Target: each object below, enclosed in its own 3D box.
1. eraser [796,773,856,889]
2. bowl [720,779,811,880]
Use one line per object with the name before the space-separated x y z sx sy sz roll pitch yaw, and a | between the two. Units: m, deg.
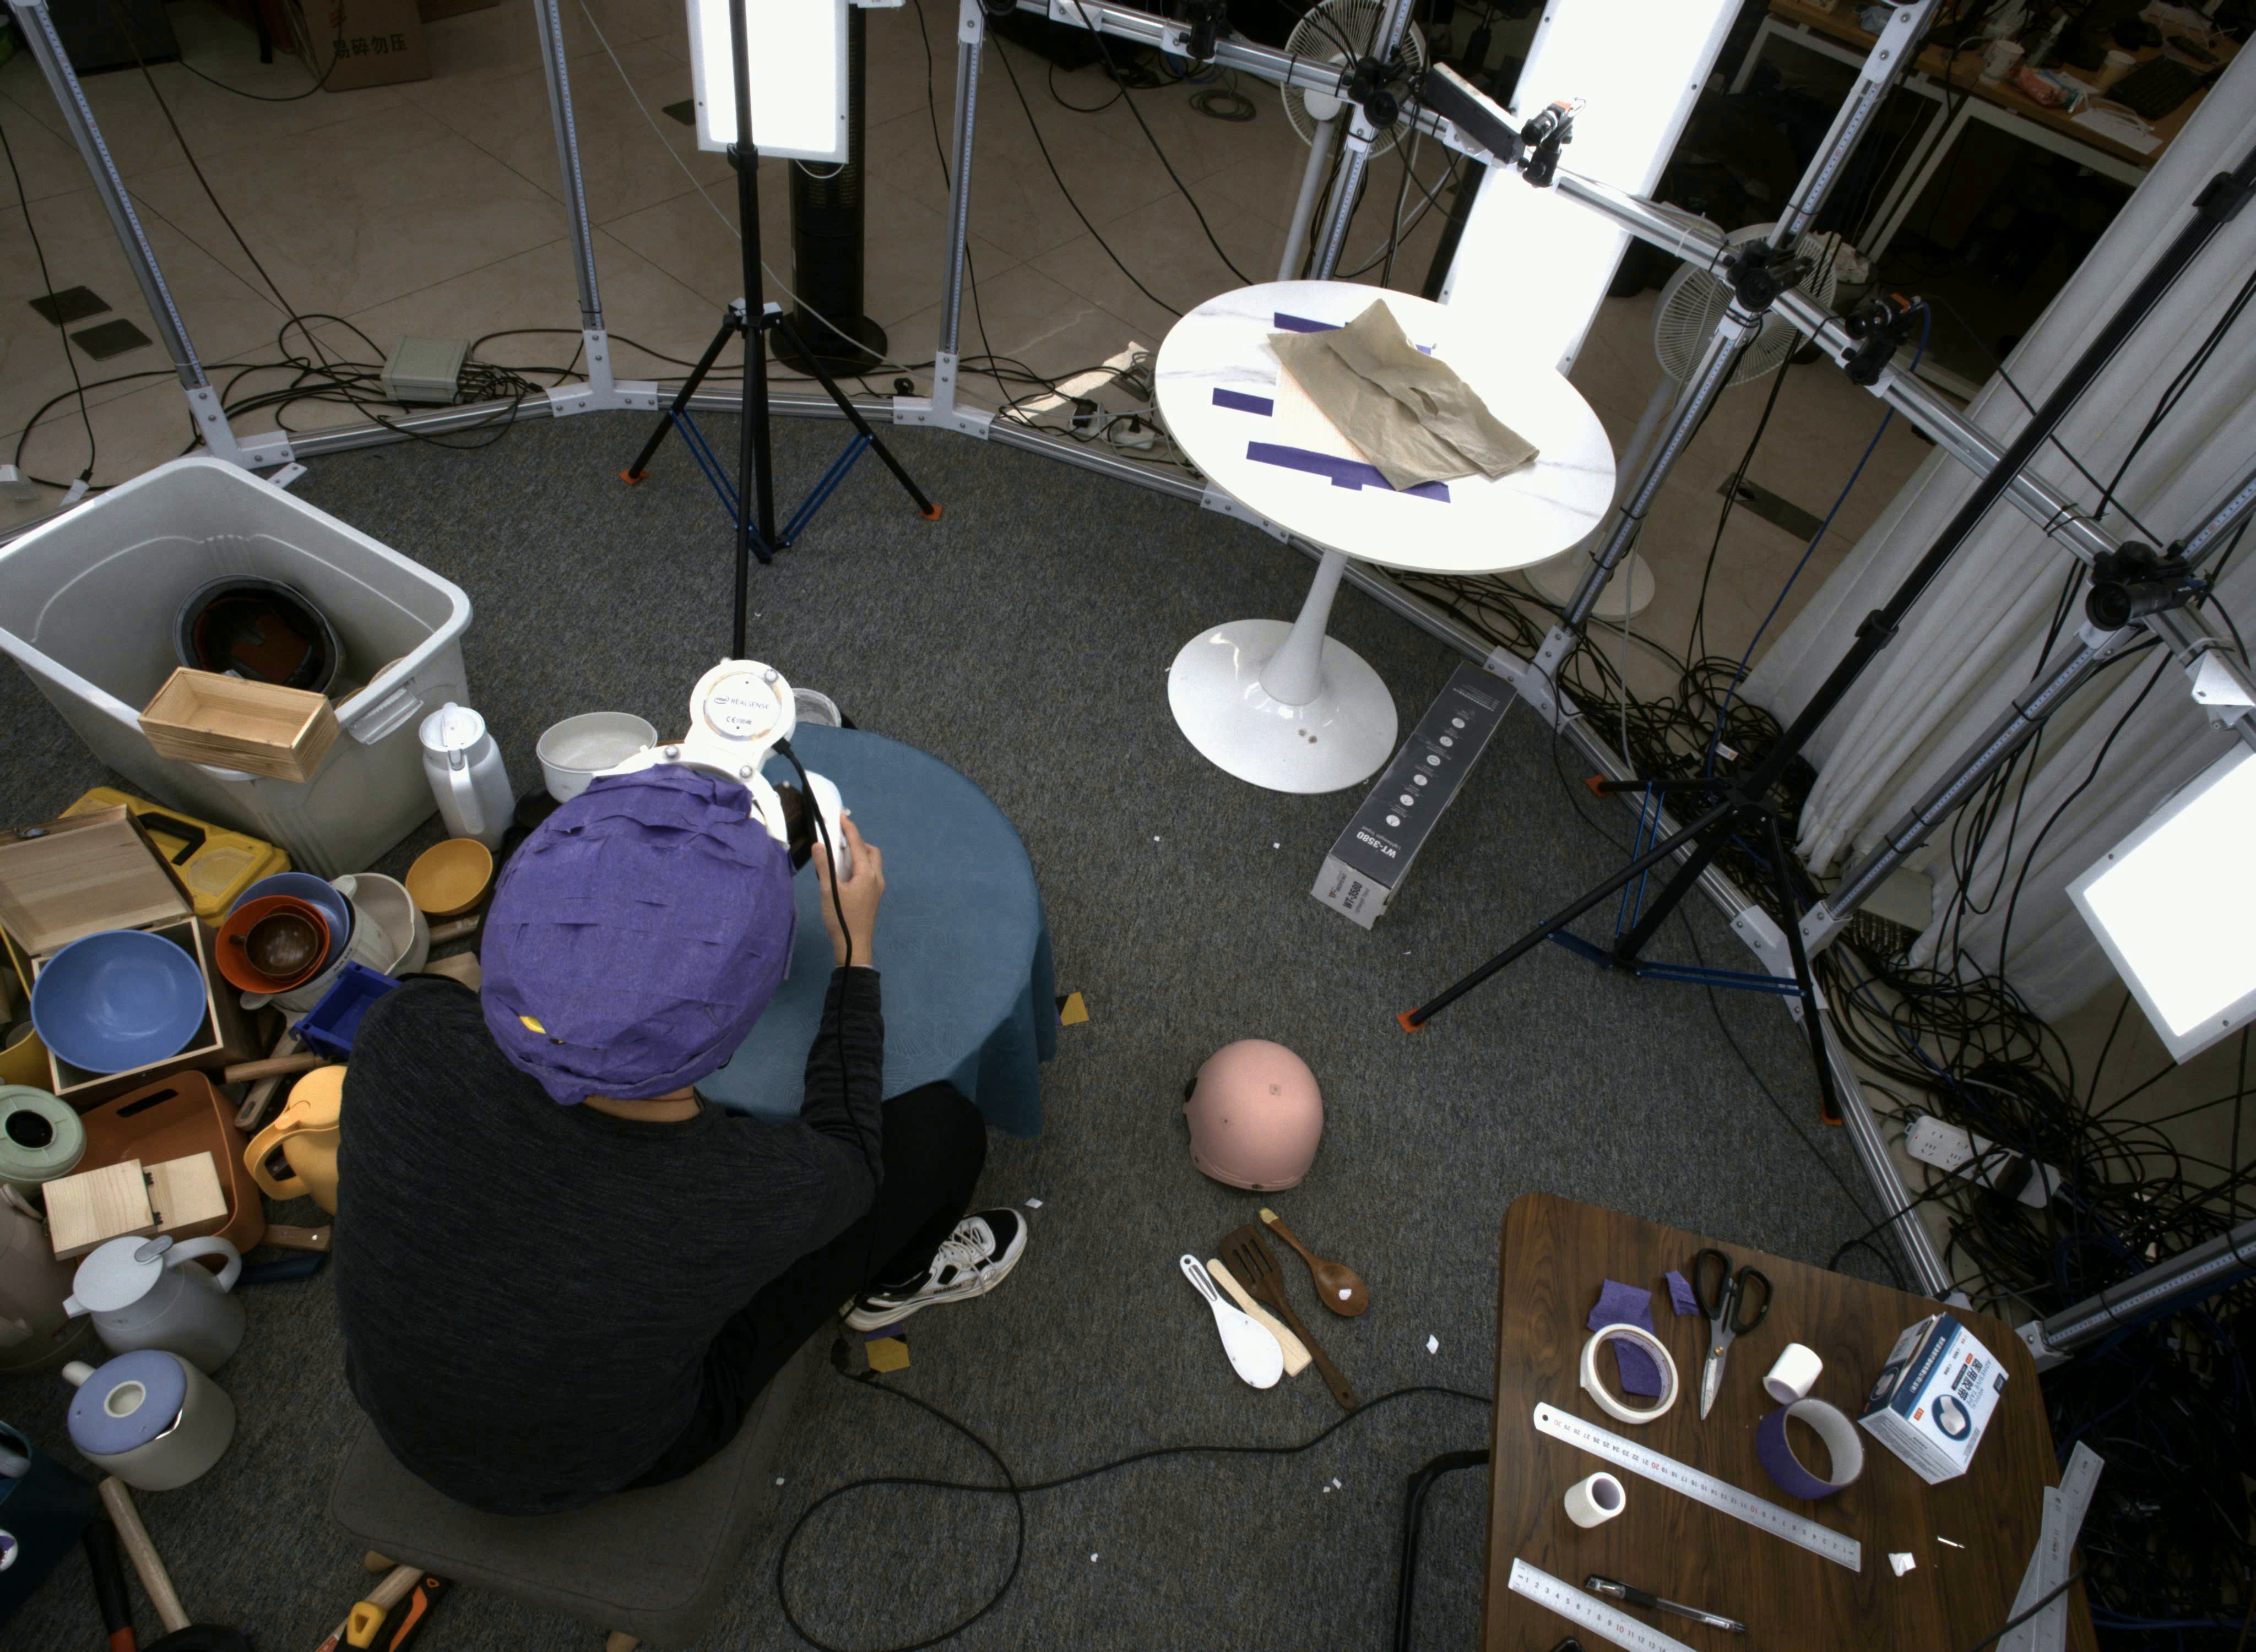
eraser | -0.346 0.005 1.493 0.034 0.064 0.131 -16 79 7
bowl | -0.412 0.011 1.511 0.070 0.119 0.117 36 52 1
